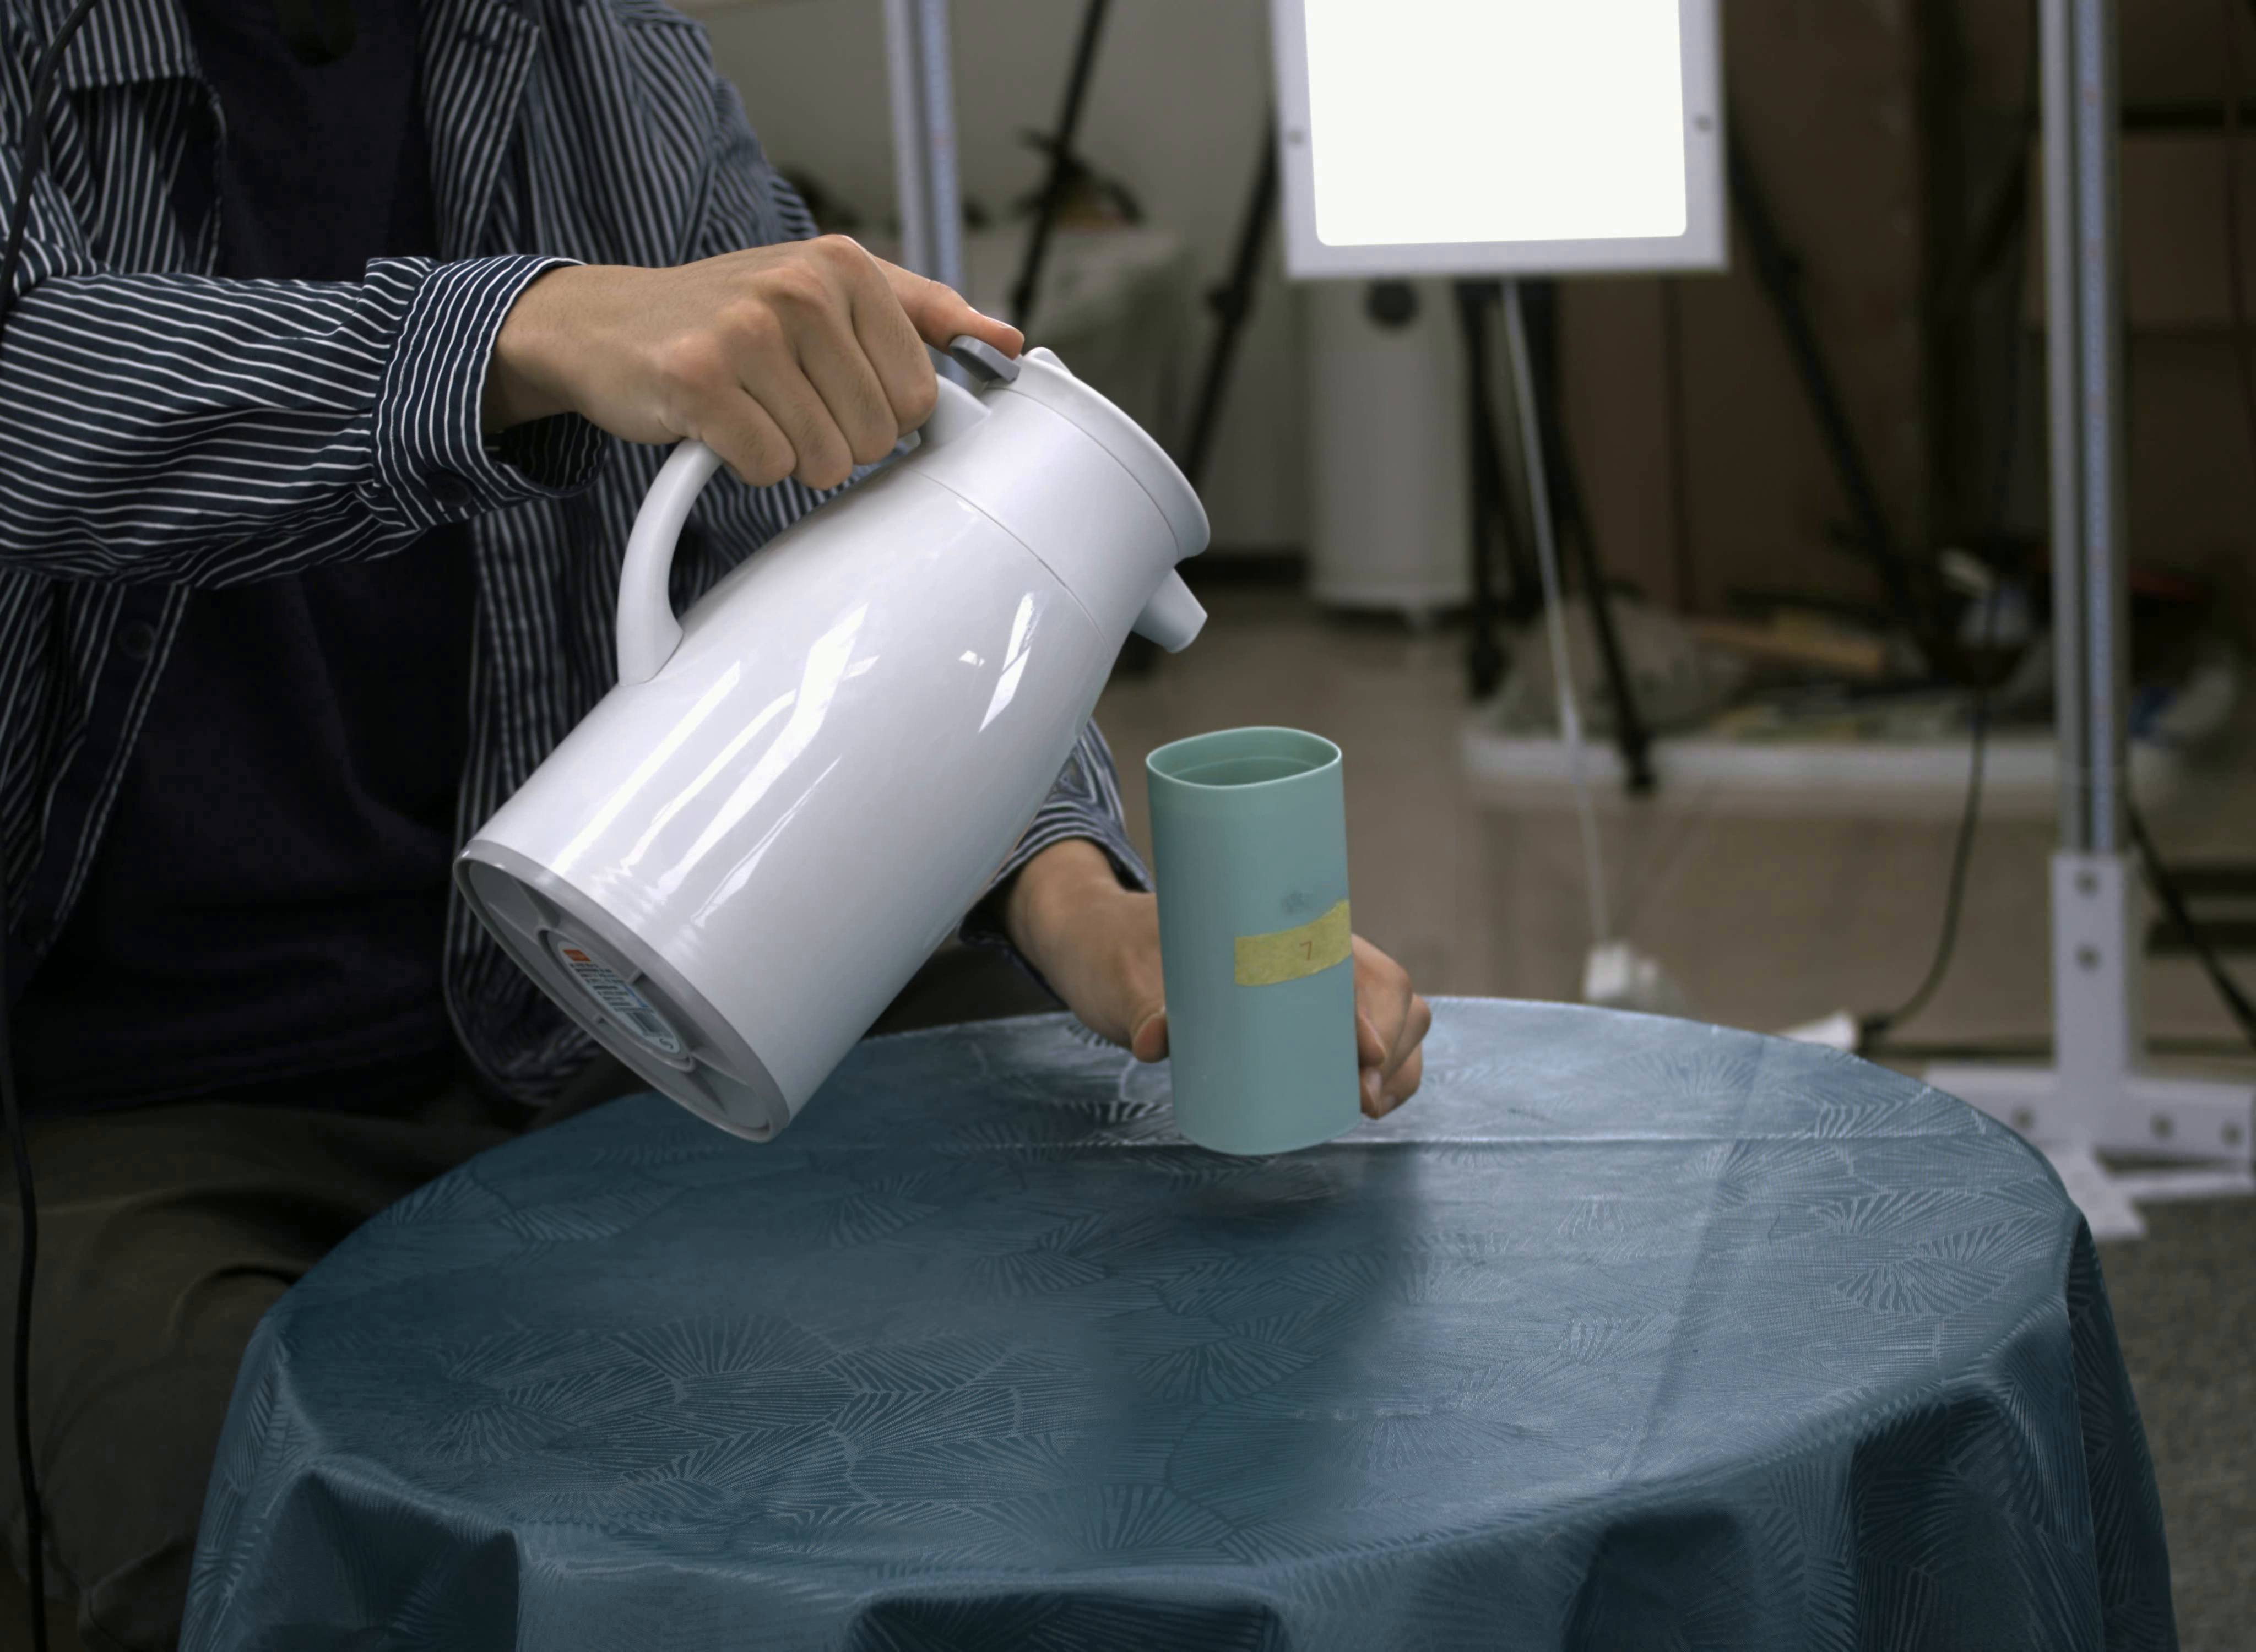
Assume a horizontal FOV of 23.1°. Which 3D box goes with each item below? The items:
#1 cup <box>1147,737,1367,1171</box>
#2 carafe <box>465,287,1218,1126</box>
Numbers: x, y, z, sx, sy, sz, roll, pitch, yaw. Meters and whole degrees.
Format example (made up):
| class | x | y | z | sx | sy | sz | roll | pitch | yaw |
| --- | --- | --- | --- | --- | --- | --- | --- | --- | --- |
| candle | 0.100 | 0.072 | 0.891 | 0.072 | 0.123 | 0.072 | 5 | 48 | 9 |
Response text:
| class | x | y | z | sx | sy | sz | roll | pitch | yaw |
| --- | --- | --- | --- | --- | --- | --- | --- | --- | --- |
| cup | 0.043 | 0.042 | 1.839 | 0.066 | 0.133 | 0.066 | -5 | 18 | 0 |
| carafe | -0.090 | -0.053 | 1.722 | 0.246 | 0.166 | 0.135 | -50 | 22 | -14 |
